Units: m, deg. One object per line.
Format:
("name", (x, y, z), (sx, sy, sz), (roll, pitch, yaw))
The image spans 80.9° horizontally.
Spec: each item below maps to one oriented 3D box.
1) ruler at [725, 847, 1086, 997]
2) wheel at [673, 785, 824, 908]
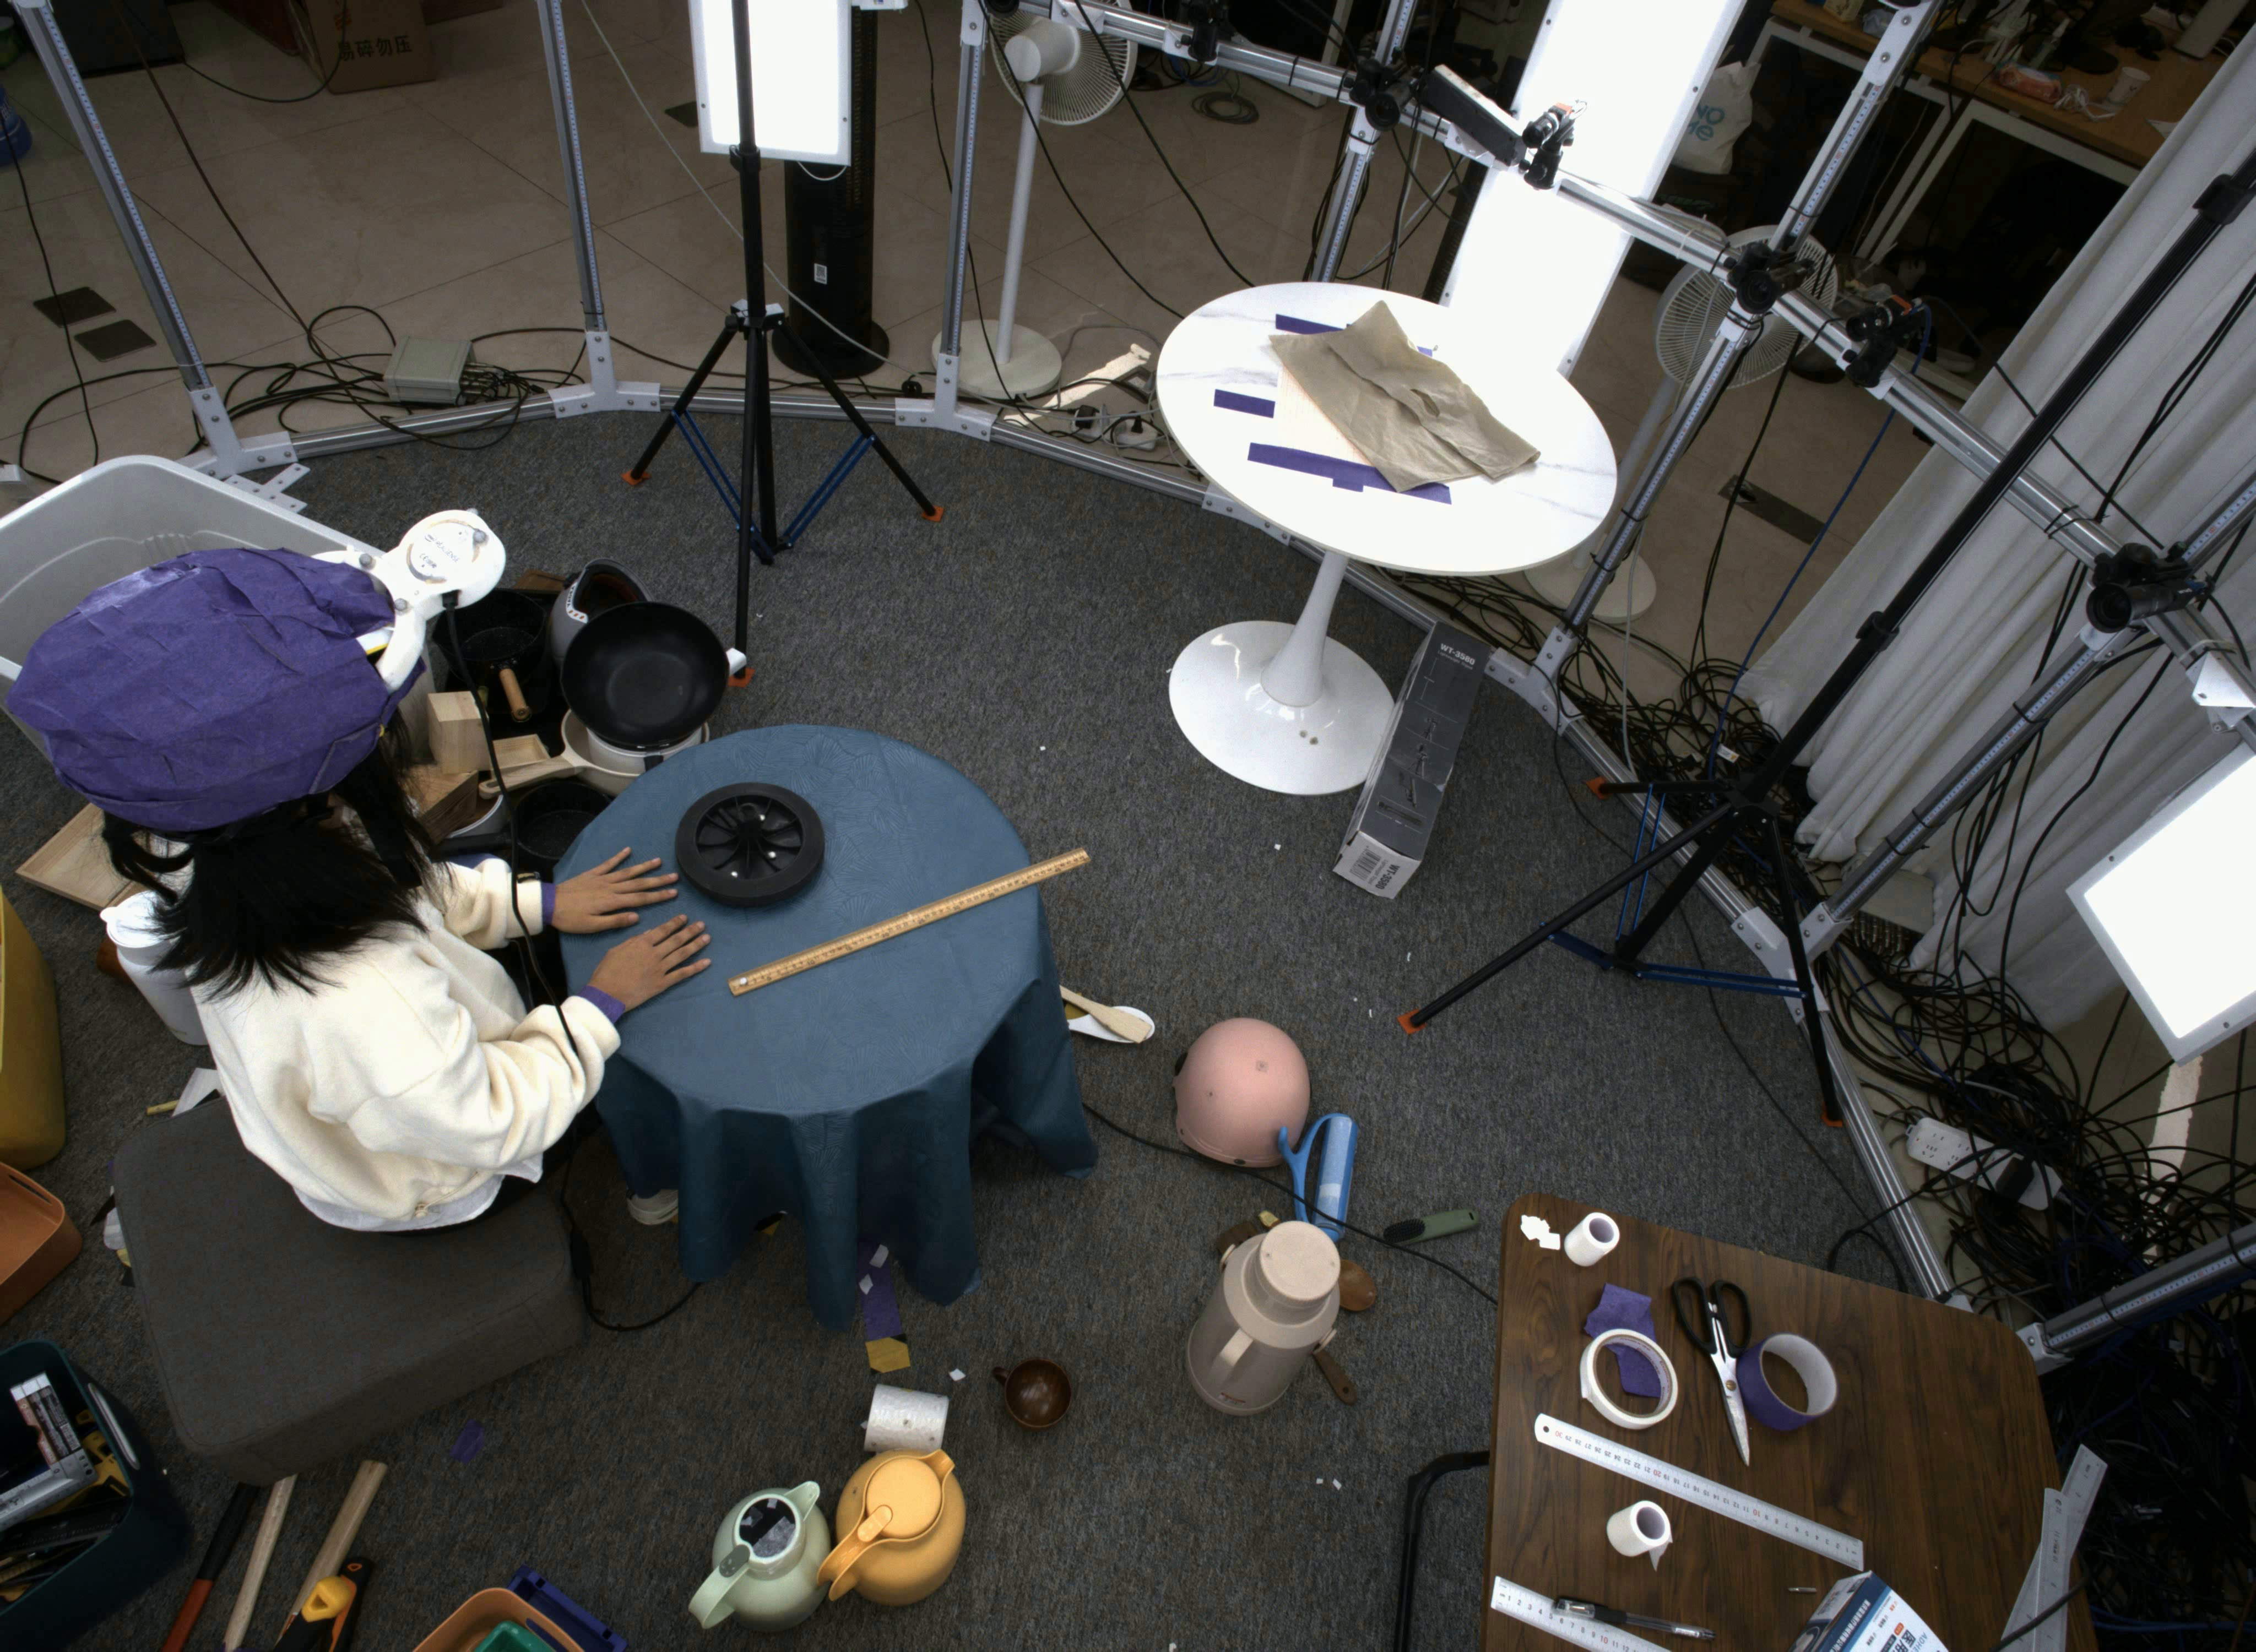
("ruler", (-0.271, 0.116, 1.669), (0.503, 0.006, 0.026), (-21, 63, -27))
("wheel", (-0.485, 0.008, 1.647), (0.187, 0.081, 0.186), (23, 51, 4))
